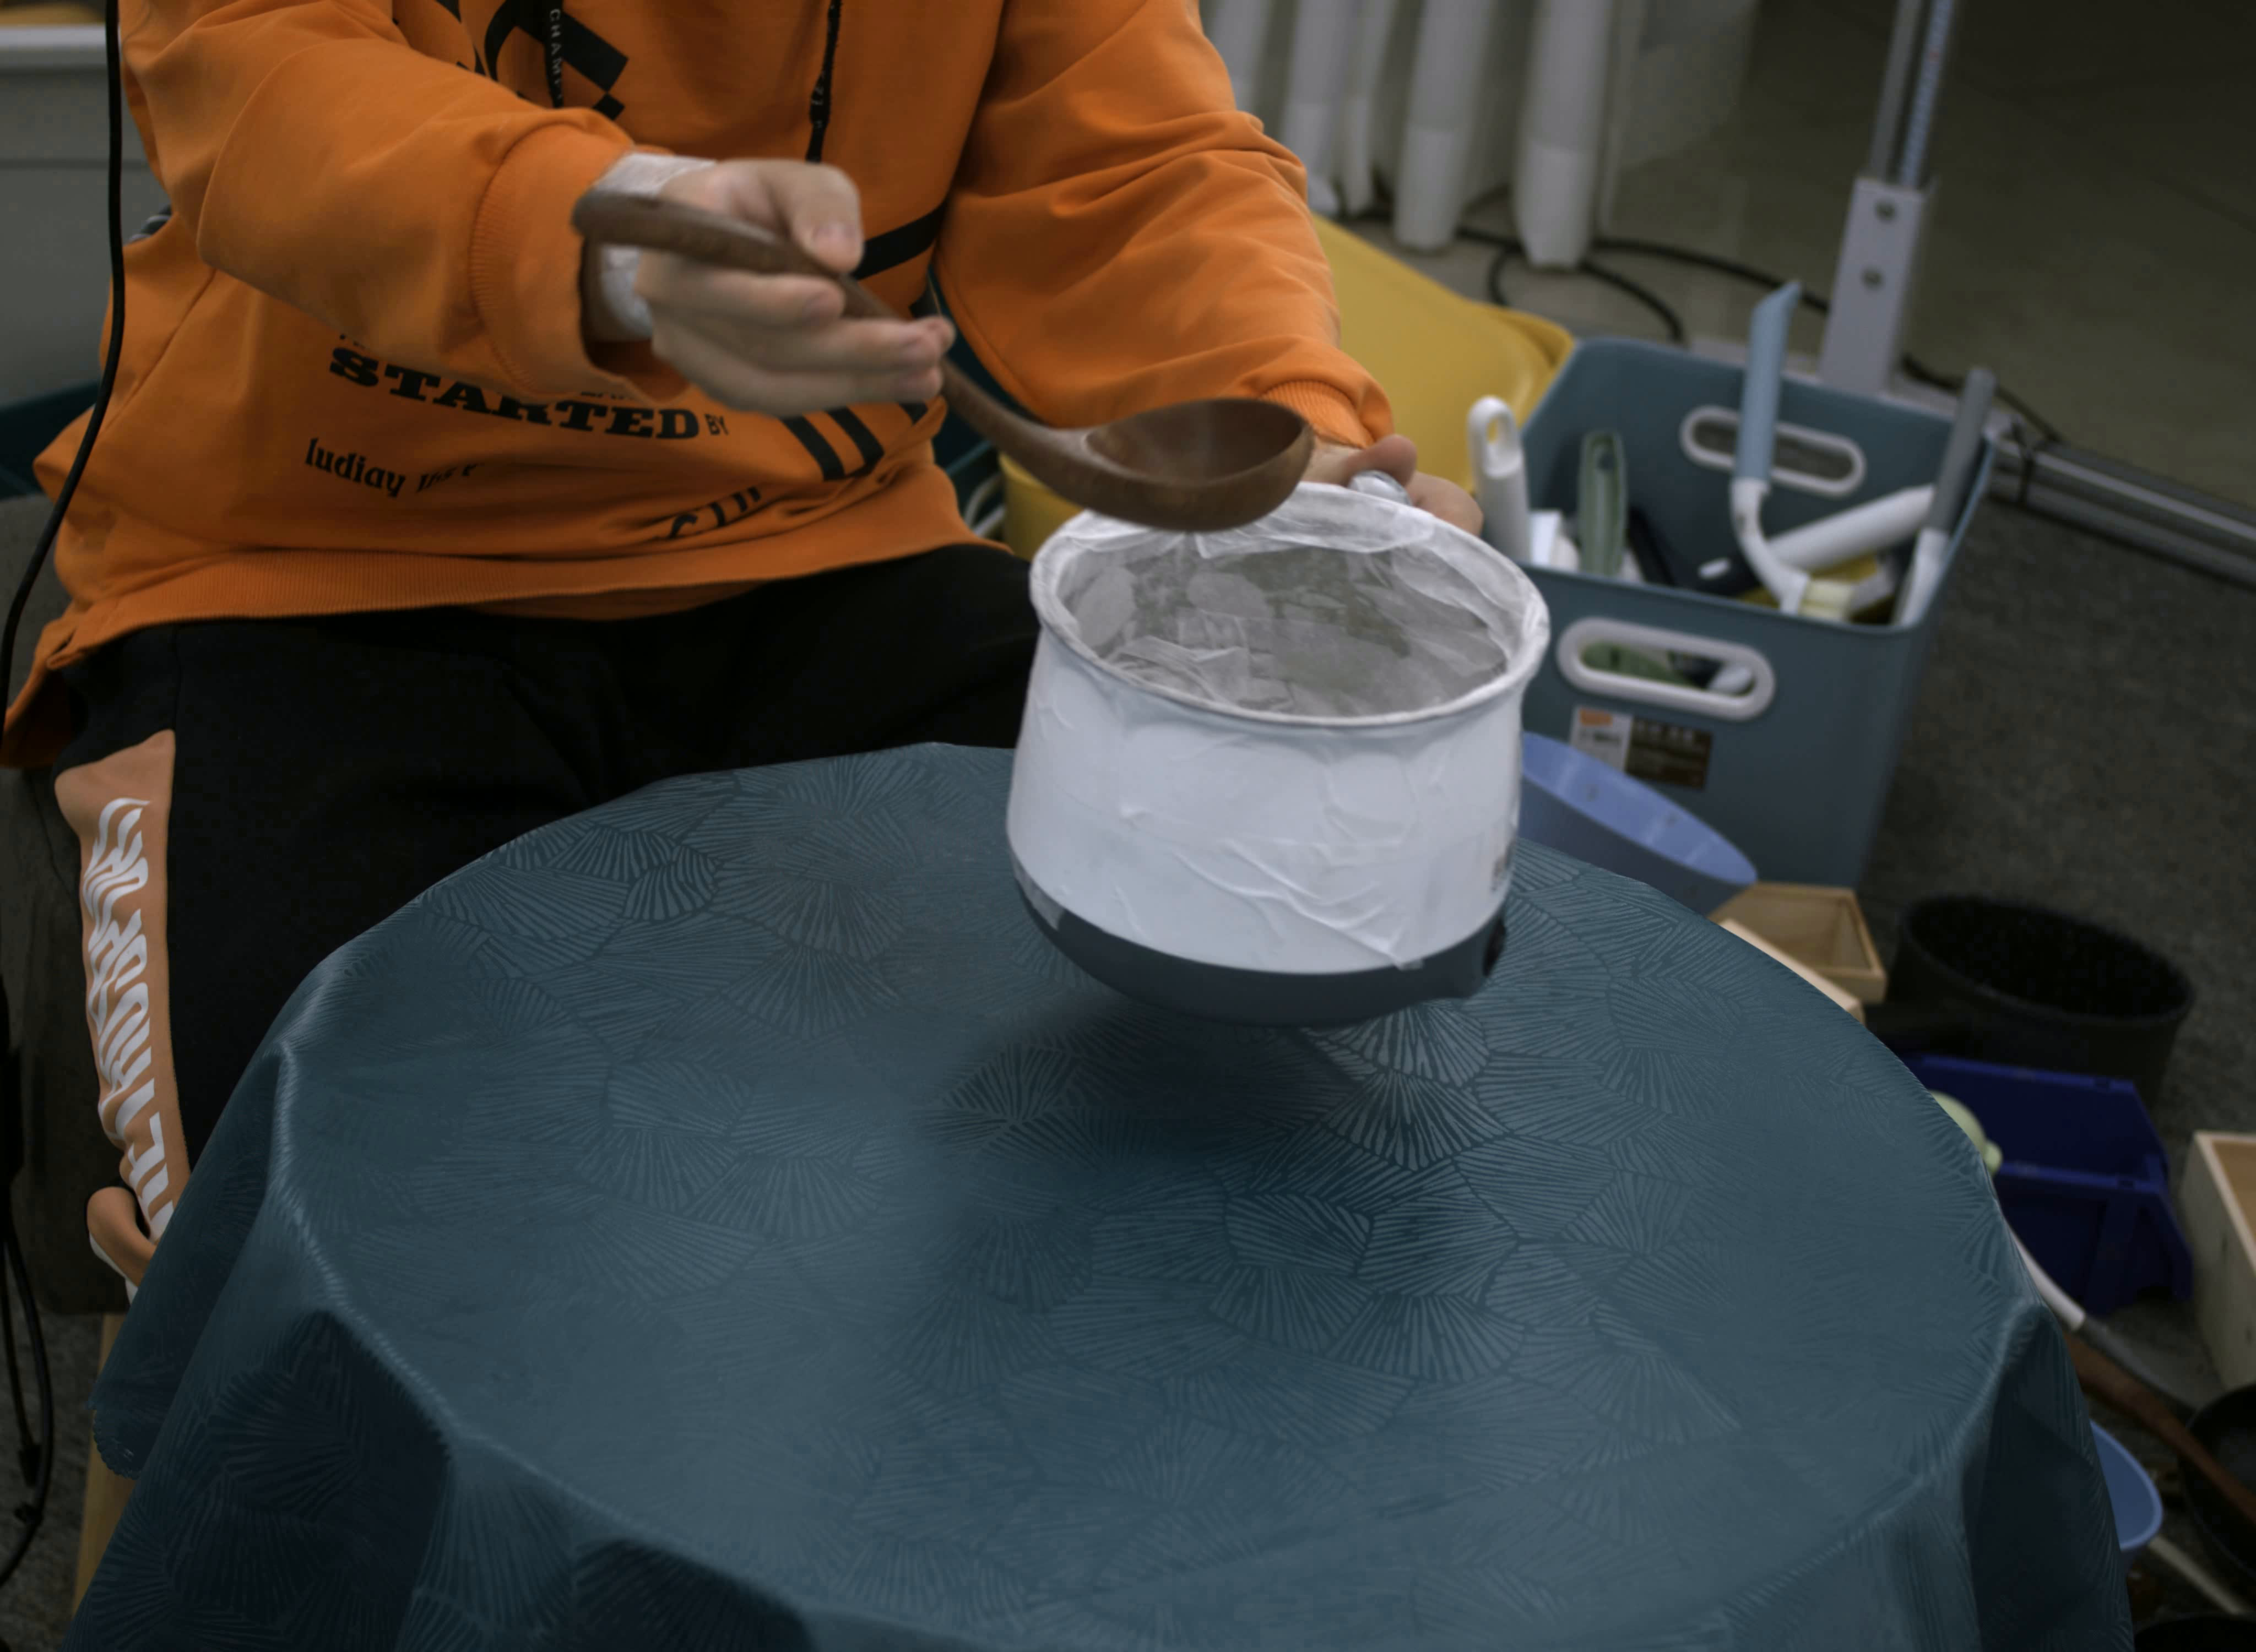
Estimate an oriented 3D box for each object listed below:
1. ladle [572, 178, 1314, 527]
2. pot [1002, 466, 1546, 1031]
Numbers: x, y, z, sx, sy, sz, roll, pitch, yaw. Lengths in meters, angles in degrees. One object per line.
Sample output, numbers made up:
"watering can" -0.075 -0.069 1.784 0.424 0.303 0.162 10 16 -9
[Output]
"ladle" -0.056 -0.163 1.708 0.258 0.065 0.077 28 6 -24
"pot" 0.056 -0.037 1.854 0.179 0.136 0.234 14 30 13
